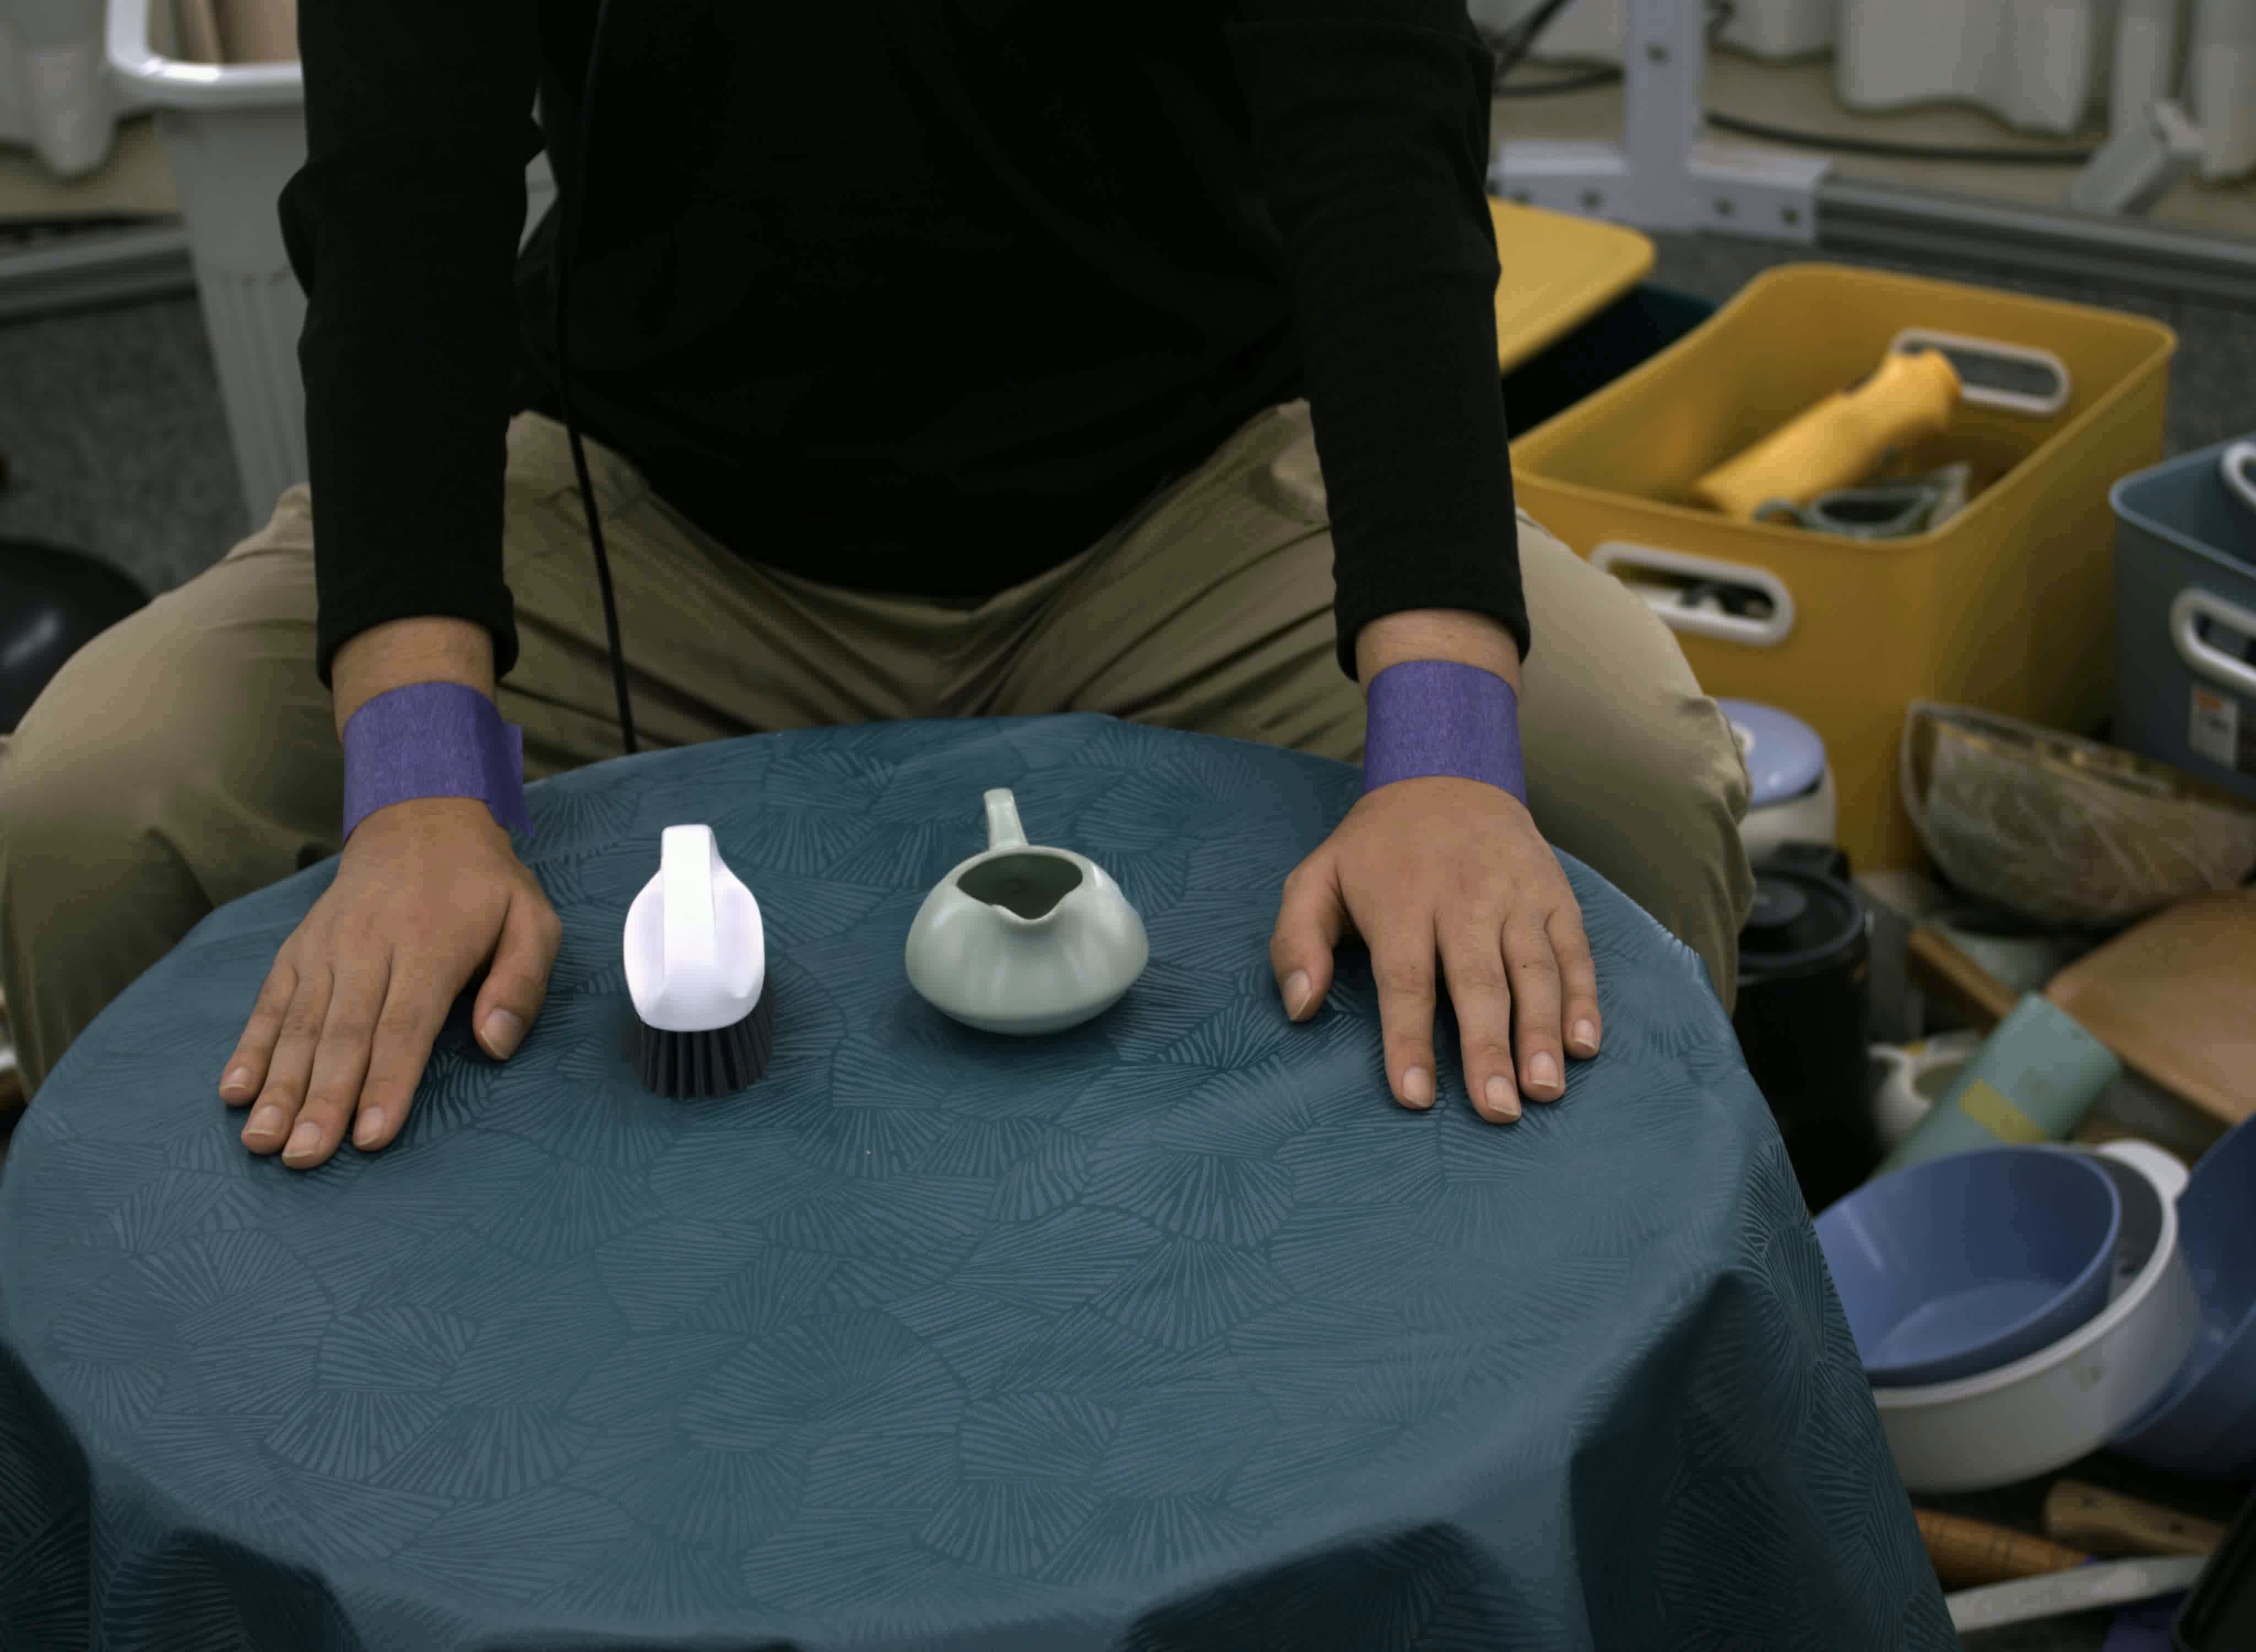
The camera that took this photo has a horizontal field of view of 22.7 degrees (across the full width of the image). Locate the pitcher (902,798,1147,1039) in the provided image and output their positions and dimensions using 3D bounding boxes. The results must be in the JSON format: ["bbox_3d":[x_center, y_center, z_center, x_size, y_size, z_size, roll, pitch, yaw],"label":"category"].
[{"bbox_3d":[-0.039,0.034,1.976,0.086,0.060,0.109,-7,24,-9],"label":"pitcher"}]

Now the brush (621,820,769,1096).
[{"bbox_3d":[-0.152,0.039,1.955,0.050,0.072,0.101,-3,28,-1],"label":"brush"}]
